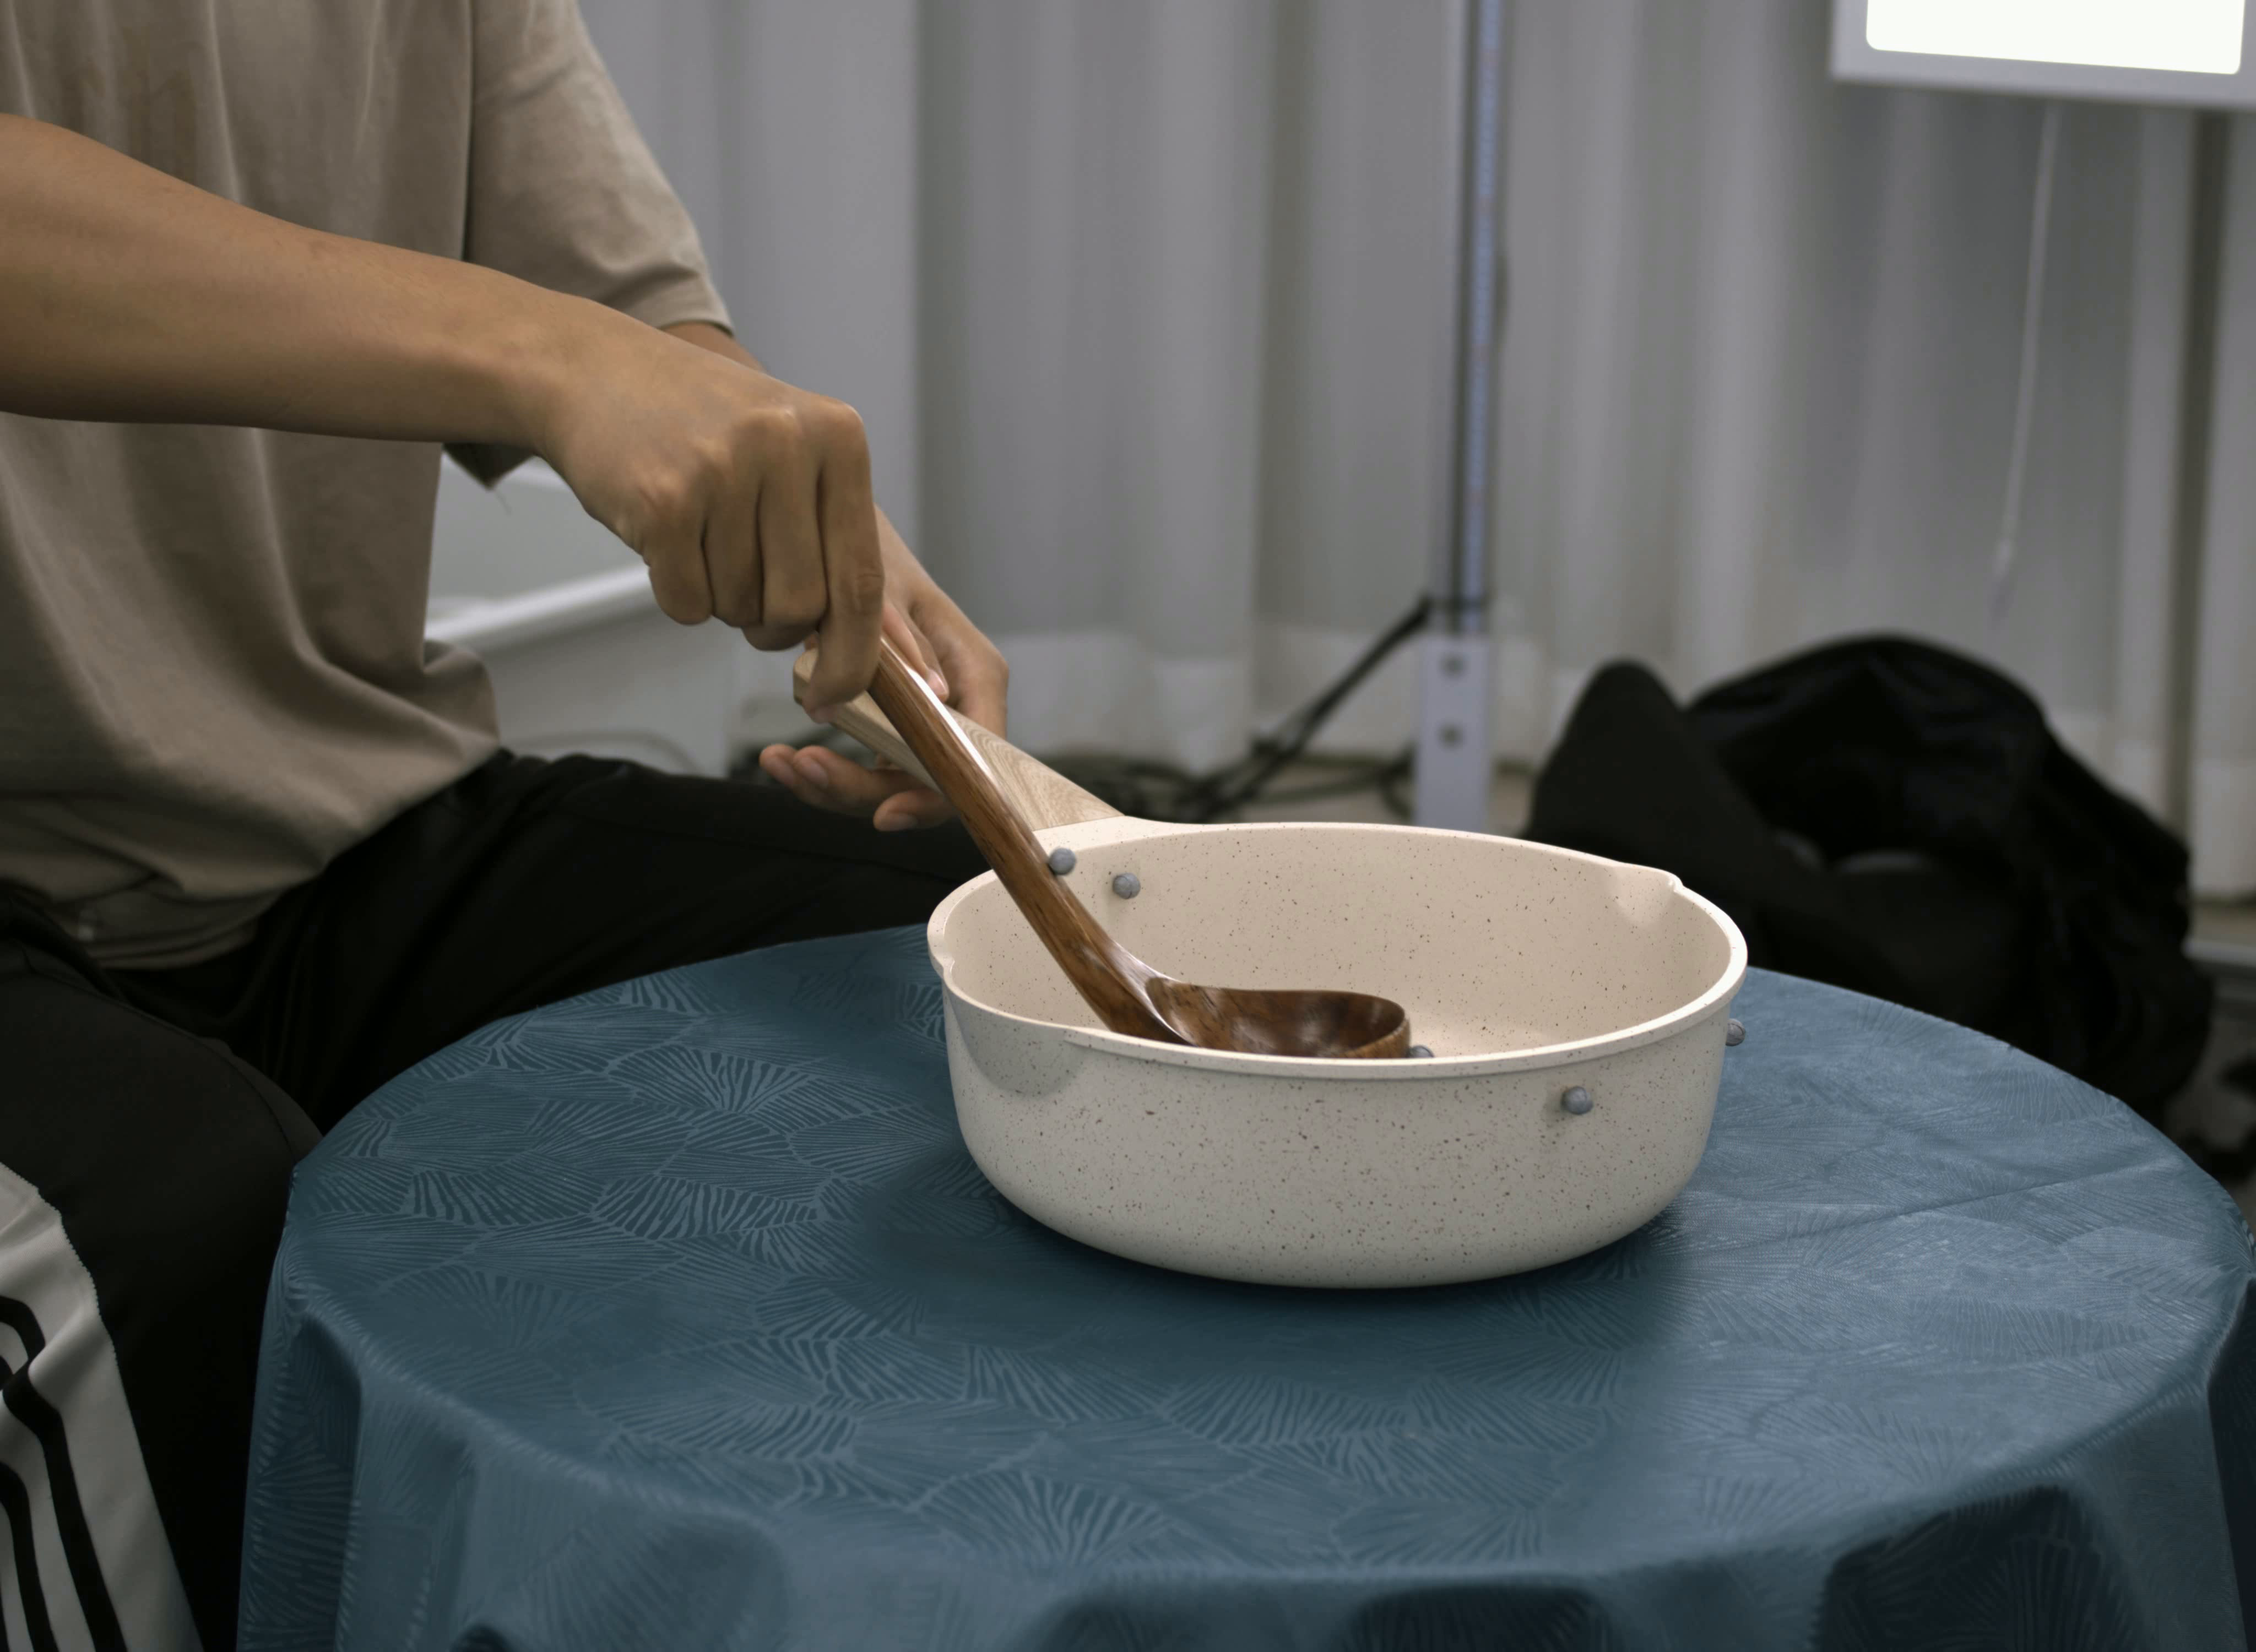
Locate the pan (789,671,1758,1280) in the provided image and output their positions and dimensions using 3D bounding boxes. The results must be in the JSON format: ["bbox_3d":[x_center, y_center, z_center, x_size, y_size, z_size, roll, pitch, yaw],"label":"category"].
[{"bbox_3d":[0.016,0.042,1.695,0.264,0.103,0.429,-12,20,-33],"label":"pan"}]

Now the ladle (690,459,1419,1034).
[{"bbox_3d":[-0.018,-0.017,1.565,0.076,0.275,0.081,-36,7,8],"label":"ladle"}]
